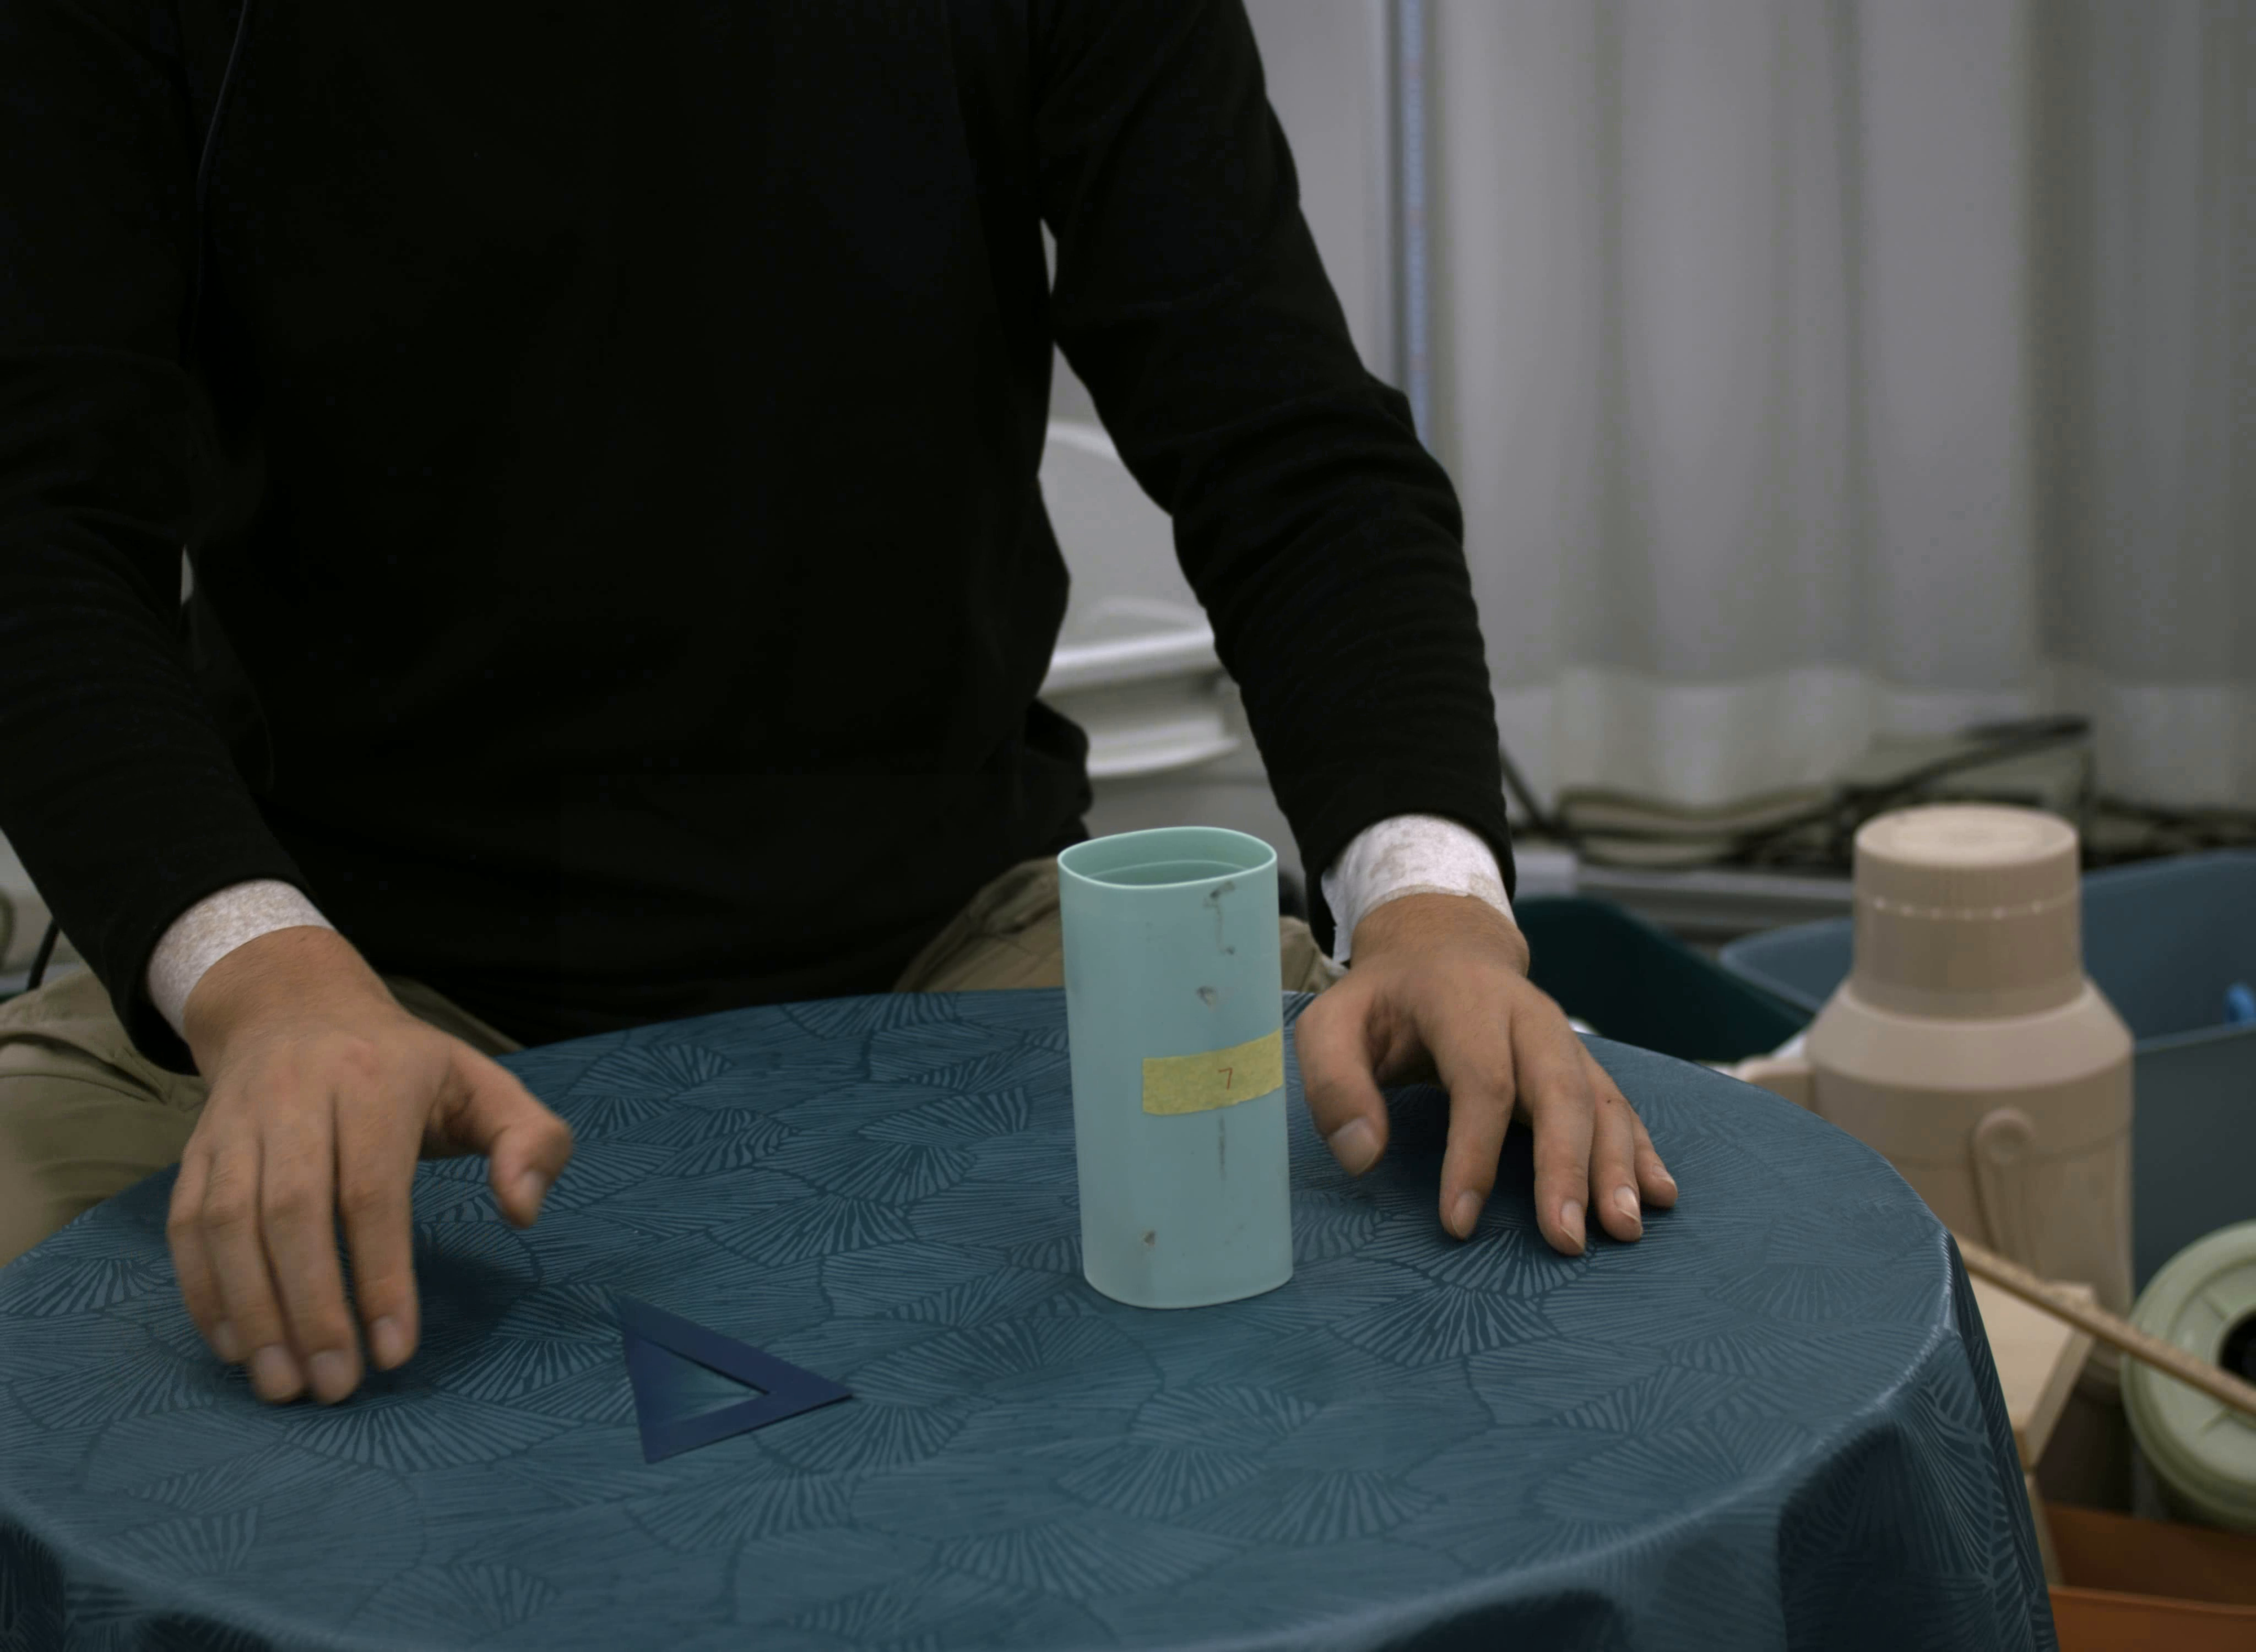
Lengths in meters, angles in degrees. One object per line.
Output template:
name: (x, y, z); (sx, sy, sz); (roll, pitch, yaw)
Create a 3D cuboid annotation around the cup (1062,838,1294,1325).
cup: (0.015, 0.075, 1.623); (0.066, 0.132, 0.067); (-3, 14, 1)

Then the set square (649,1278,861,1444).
set square: (-0.109, 0.152, 1.587); (0.061, 0.006, 0.133); (-5, 15, -3)
